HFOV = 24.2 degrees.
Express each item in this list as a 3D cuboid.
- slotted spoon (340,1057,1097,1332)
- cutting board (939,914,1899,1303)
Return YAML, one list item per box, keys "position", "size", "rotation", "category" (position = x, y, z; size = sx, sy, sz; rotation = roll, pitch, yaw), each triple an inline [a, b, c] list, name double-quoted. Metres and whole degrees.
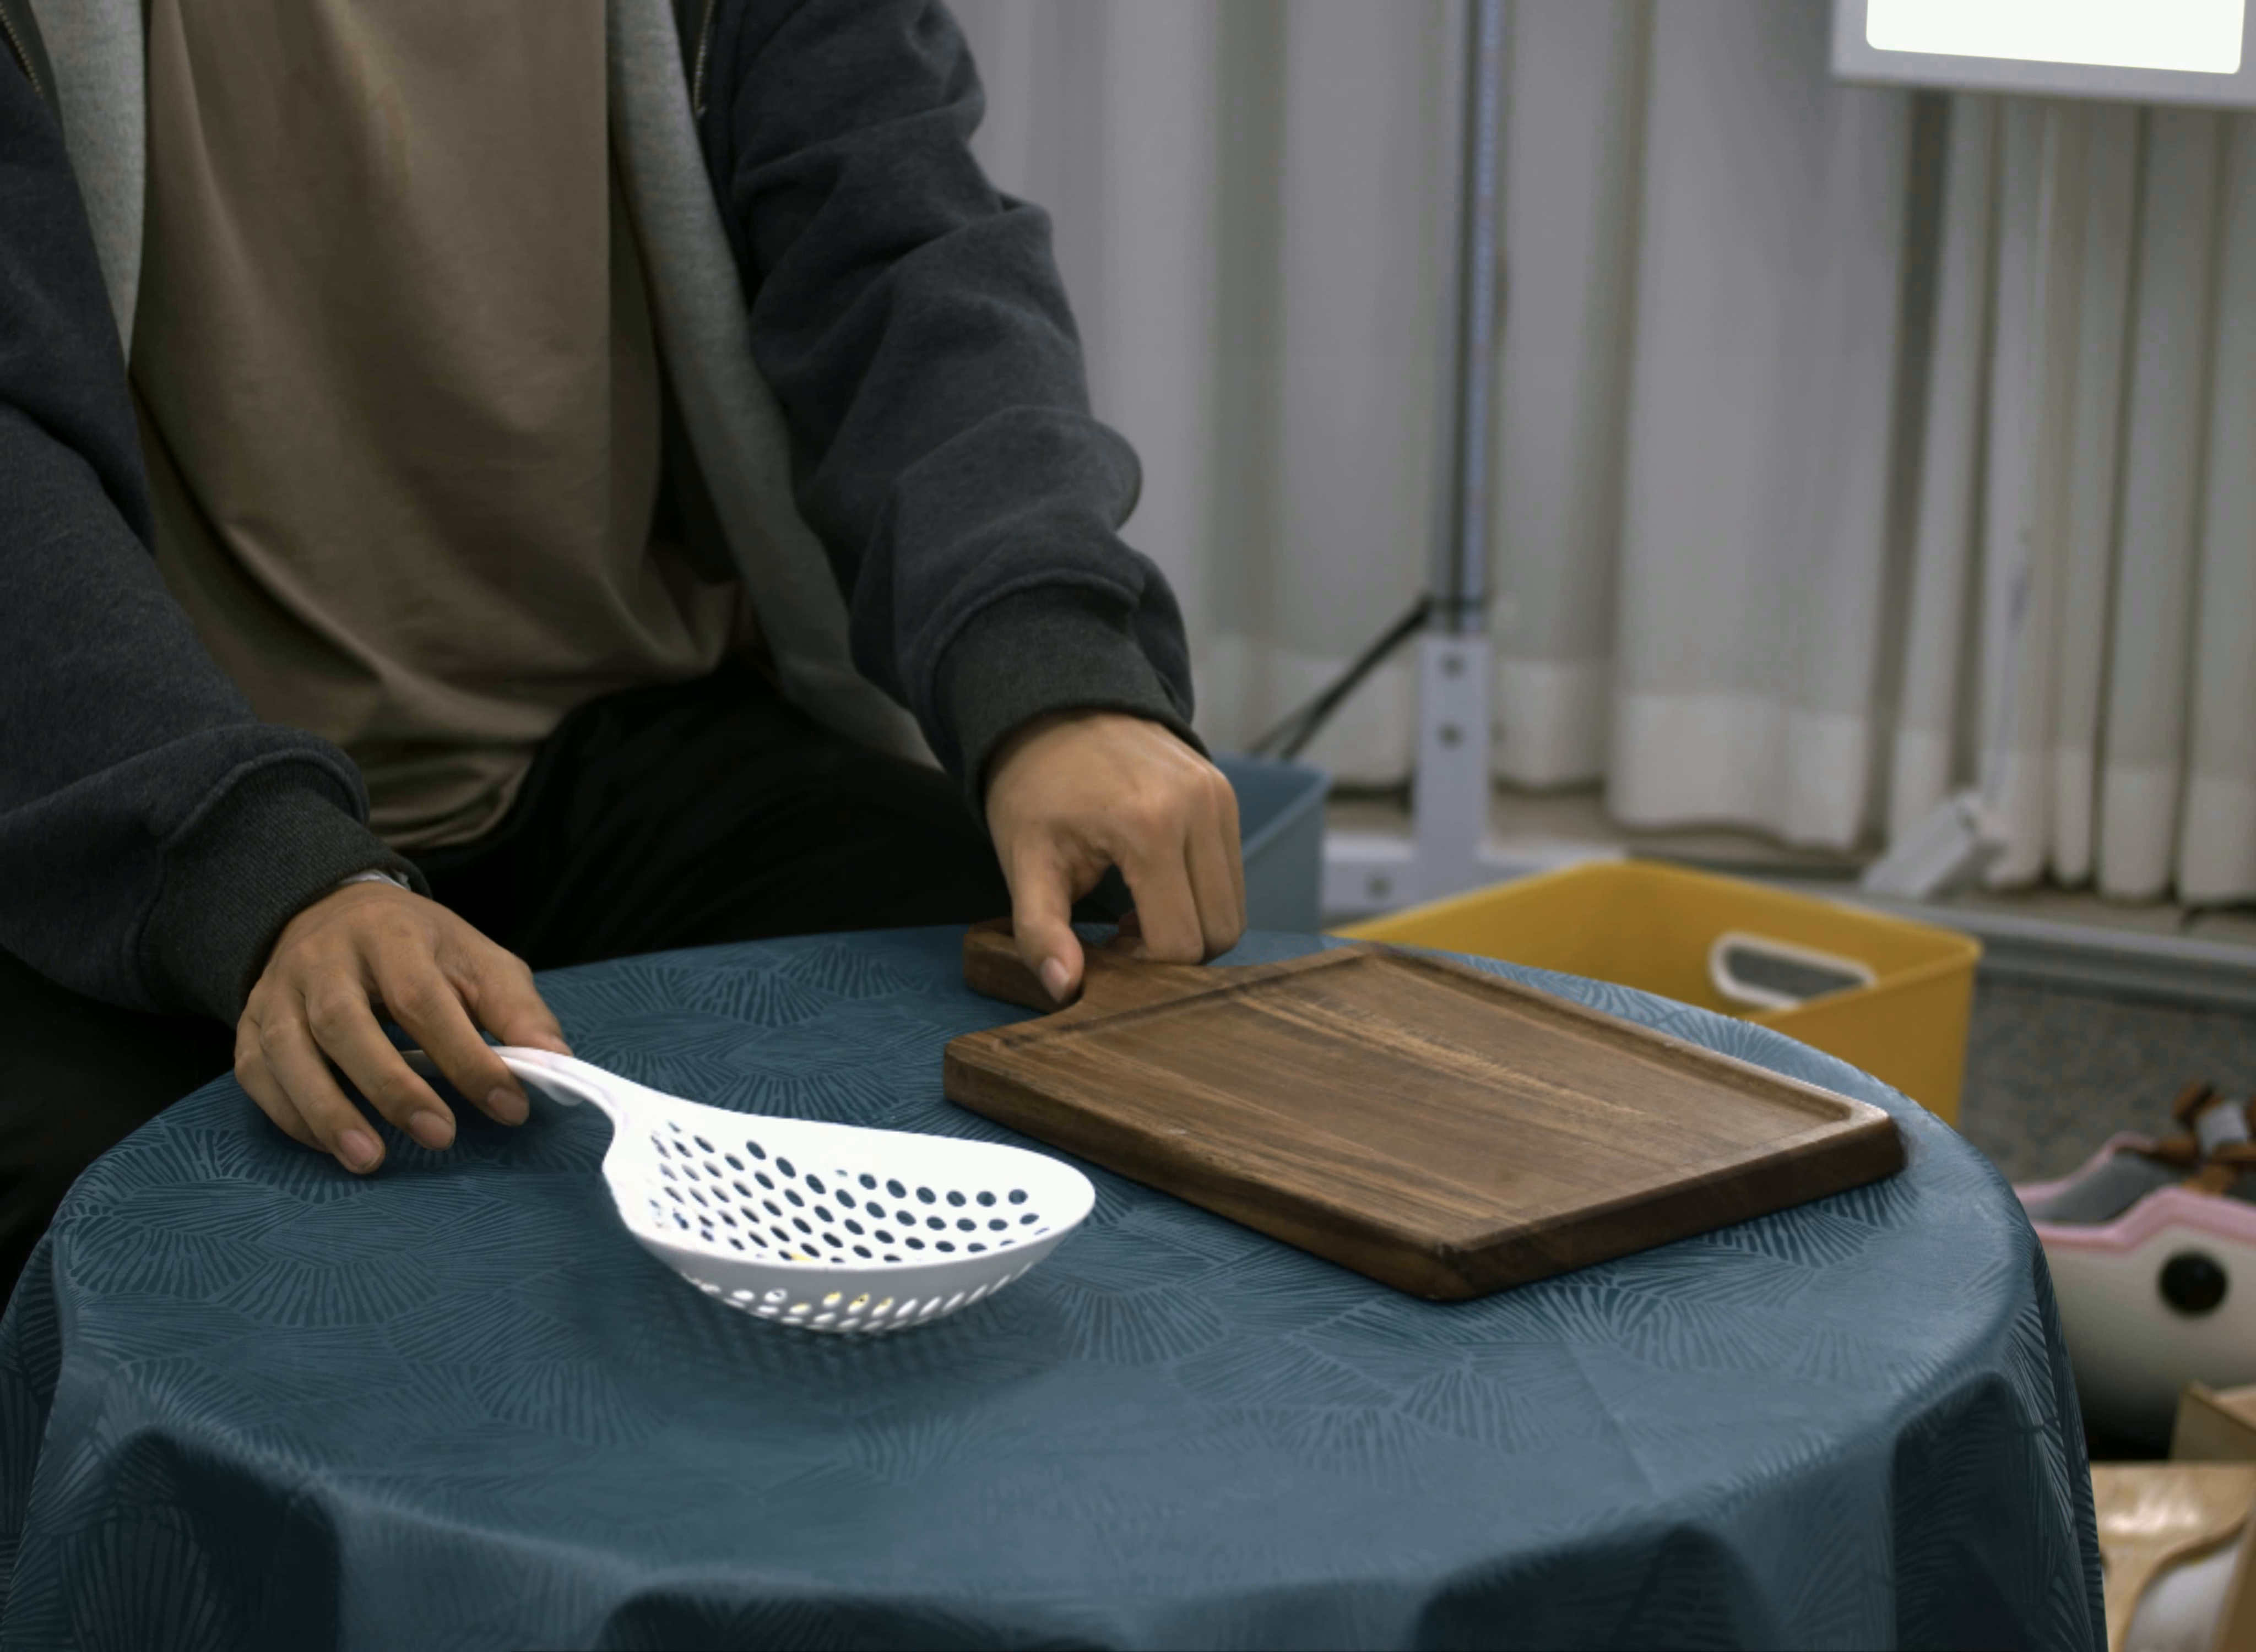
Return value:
- position: [-0.144, 0.098, 1.592]
  size: [0.137, 0.051, 0.343]
  rotation: [-12, 20, -35]
  category: "slotted spoon"
- position: [0.059, 0.078, 1.709]
  size: [0.202, 0.023, 0.347]
  rotation: [-11, 20, -38]
  category: "cutting board"
